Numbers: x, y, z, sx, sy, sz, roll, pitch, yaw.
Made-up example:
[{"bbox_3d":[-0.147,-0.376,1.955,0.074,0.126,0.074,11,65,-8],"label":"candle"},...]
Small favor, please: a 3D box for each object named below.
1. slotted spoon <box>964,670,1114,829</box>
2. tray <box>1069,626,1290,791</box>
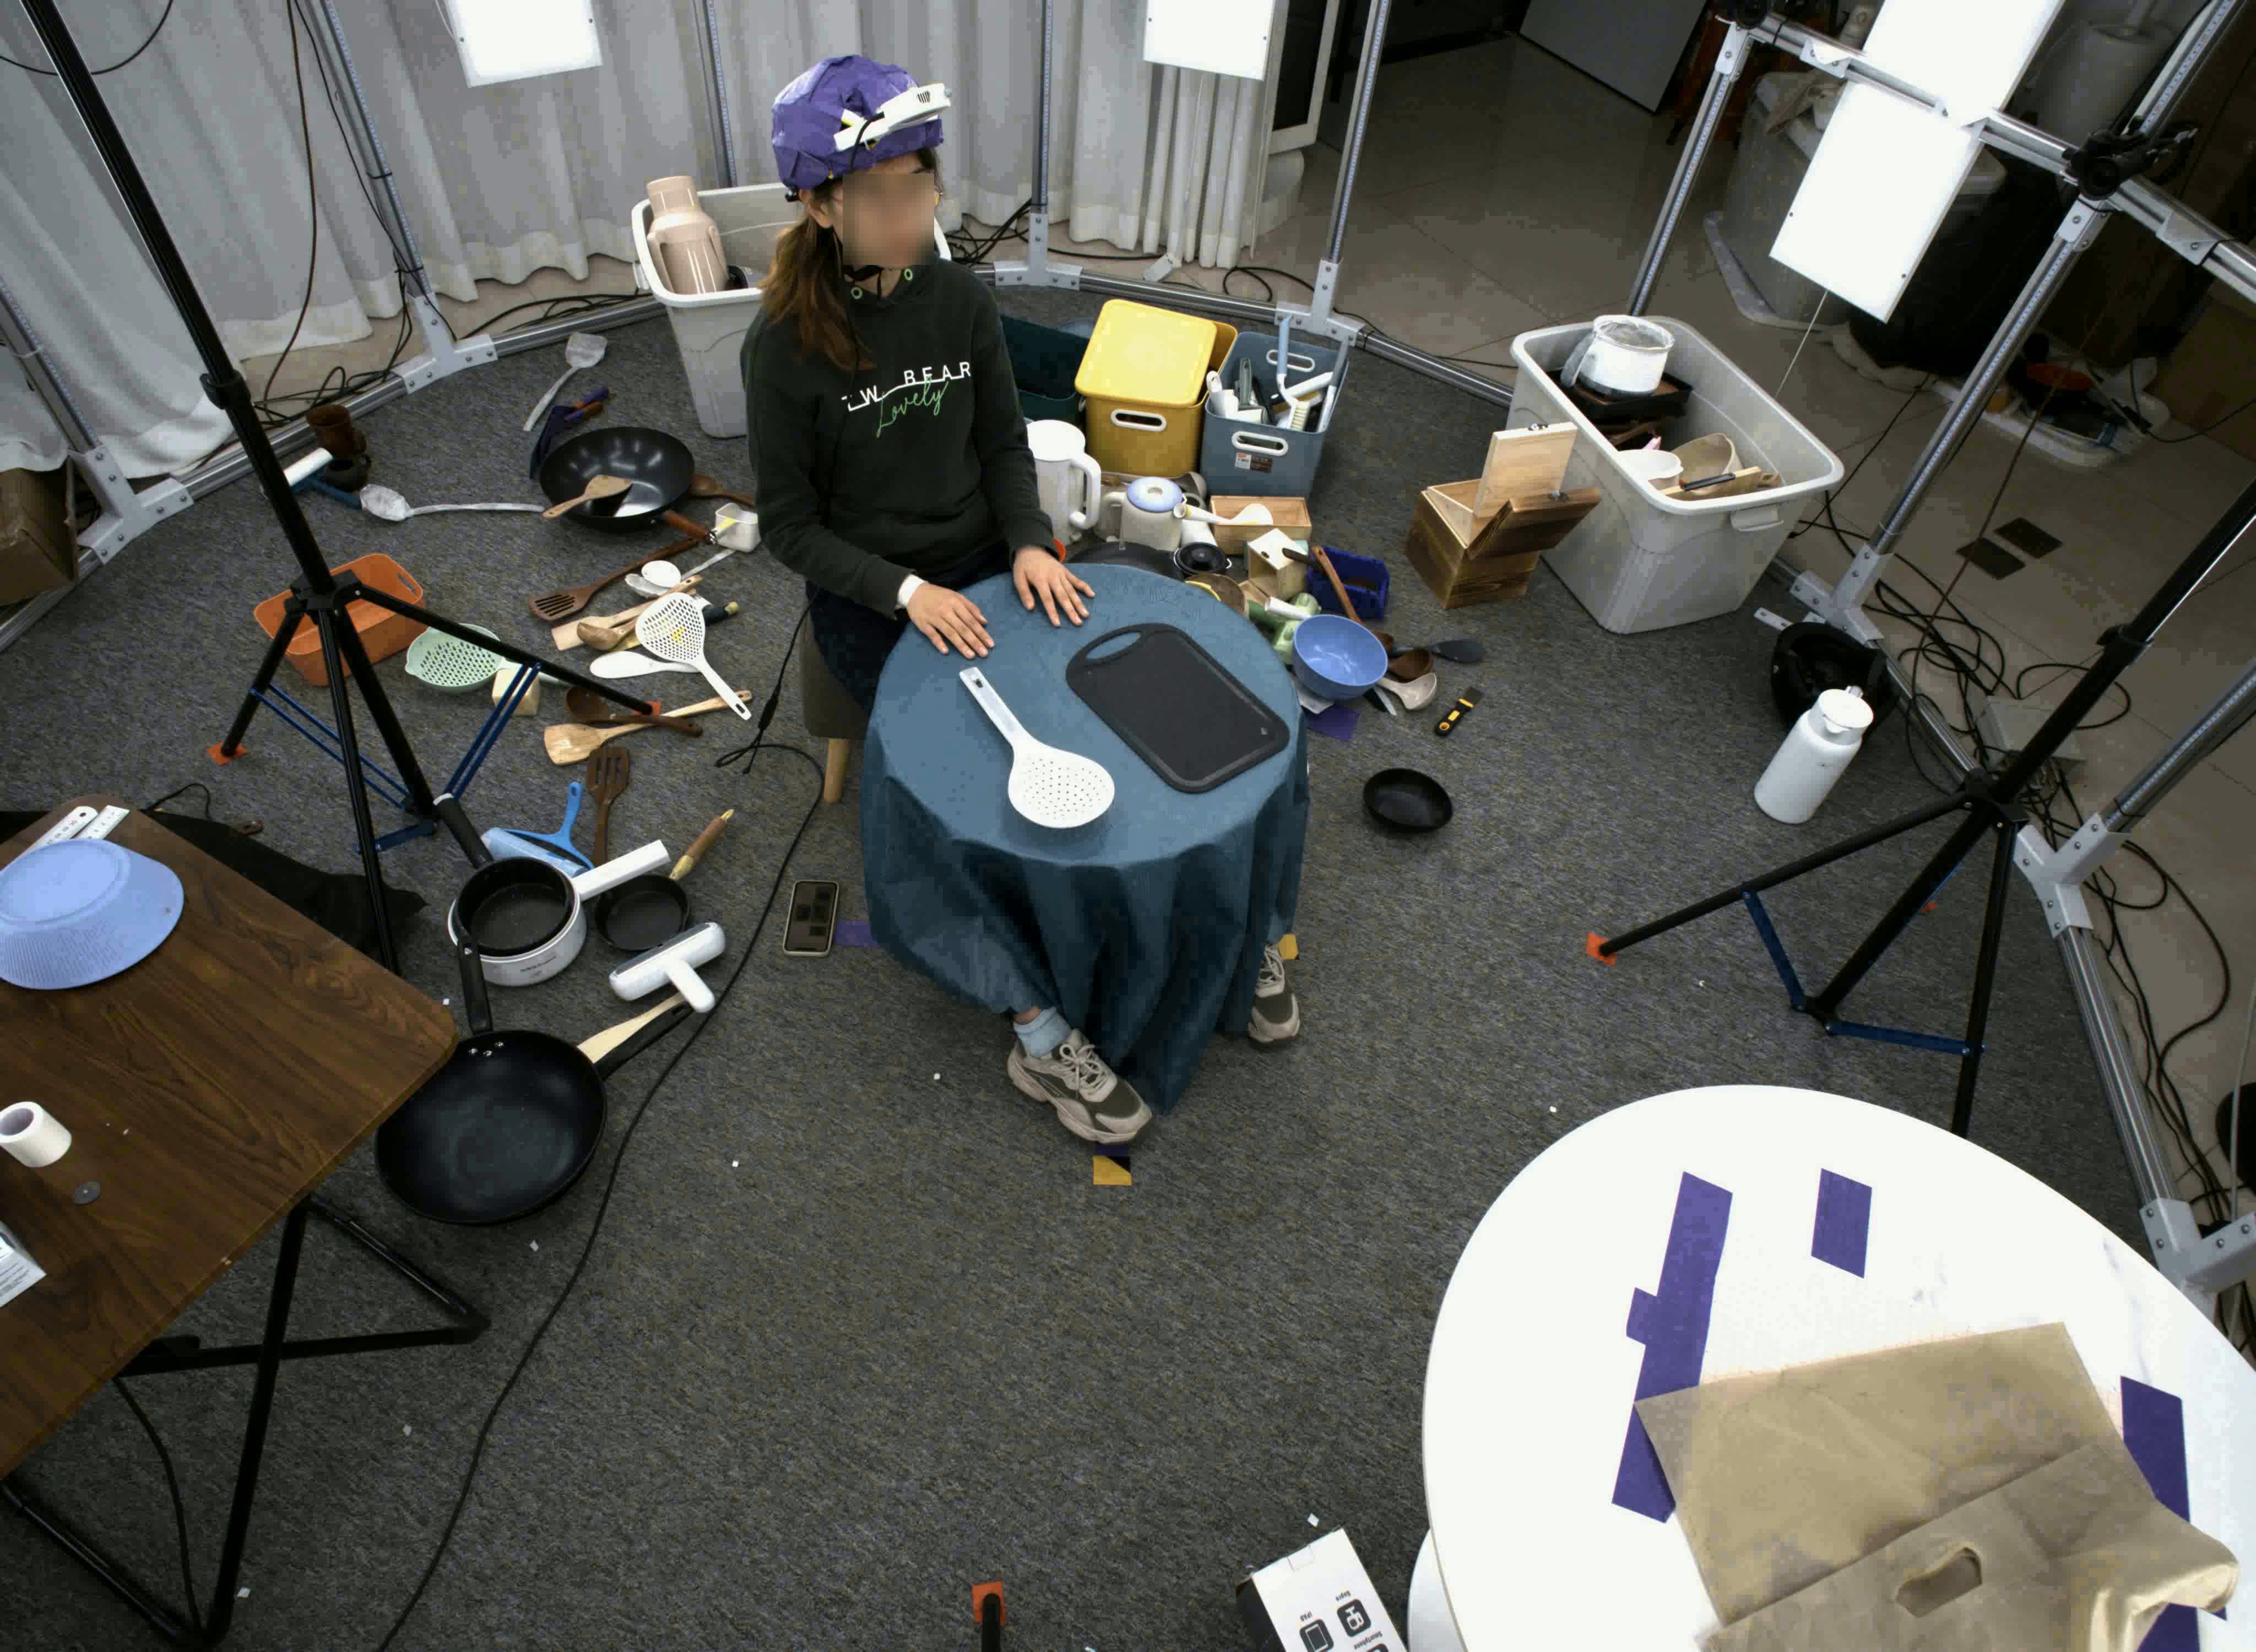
[{"bbox_3d":[-0.140,-0.109,1.740,0.136,0.044,0.357,-19,52,-22],"label":"slotted spoon"},{"bbox_3d":[0.065,-0.180,1.841,0.212,0.009,0.331,-27,55,-25],"label":"tray"}]
